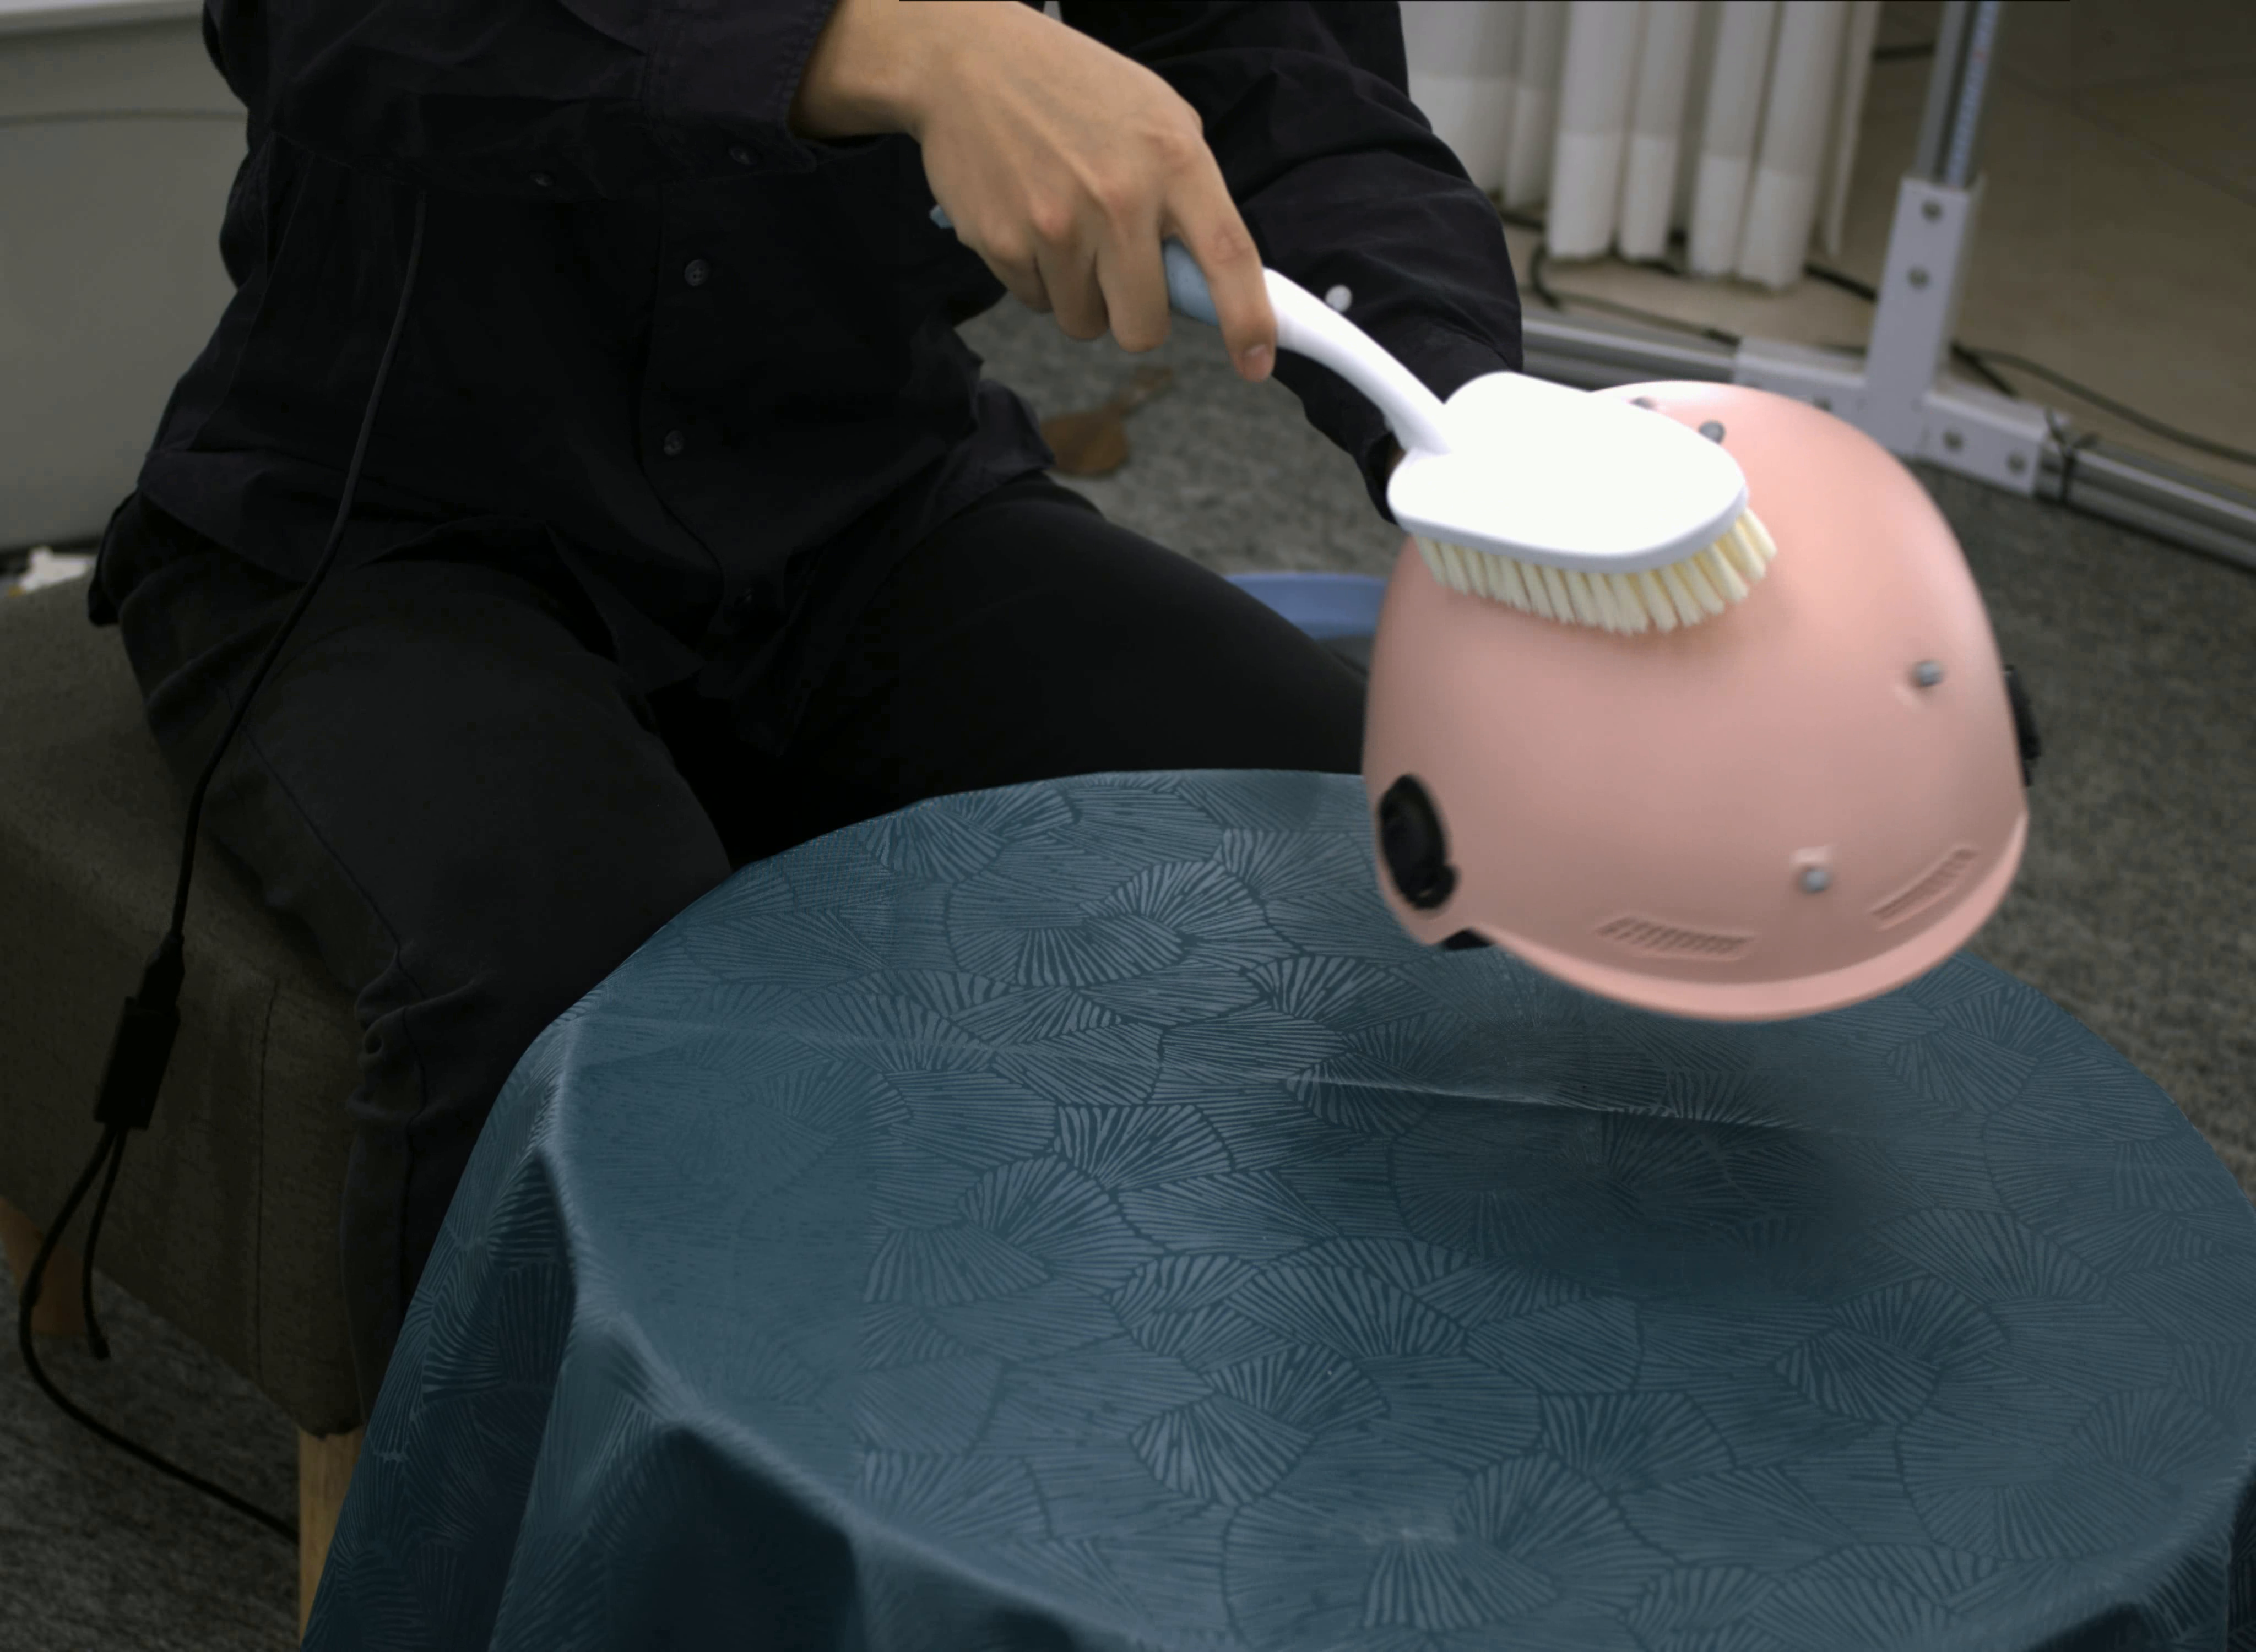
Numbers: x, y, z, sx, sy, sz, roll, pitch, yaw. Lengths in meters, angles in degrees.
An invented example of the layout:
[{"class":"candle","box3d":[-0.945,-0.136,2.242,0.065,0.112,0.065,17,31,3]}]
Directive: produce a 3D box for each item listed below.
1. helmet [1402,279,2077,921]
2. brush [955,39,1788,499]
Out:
[{"class":"helmet","box3d":[0.207,-0.095,1.830,0.233,0.158,0.268,-11,32,-10]},{"class":"brush","box3d":[0.081,-0.185,1.799,0.327,0.084,0.083,25,26,28]}]
